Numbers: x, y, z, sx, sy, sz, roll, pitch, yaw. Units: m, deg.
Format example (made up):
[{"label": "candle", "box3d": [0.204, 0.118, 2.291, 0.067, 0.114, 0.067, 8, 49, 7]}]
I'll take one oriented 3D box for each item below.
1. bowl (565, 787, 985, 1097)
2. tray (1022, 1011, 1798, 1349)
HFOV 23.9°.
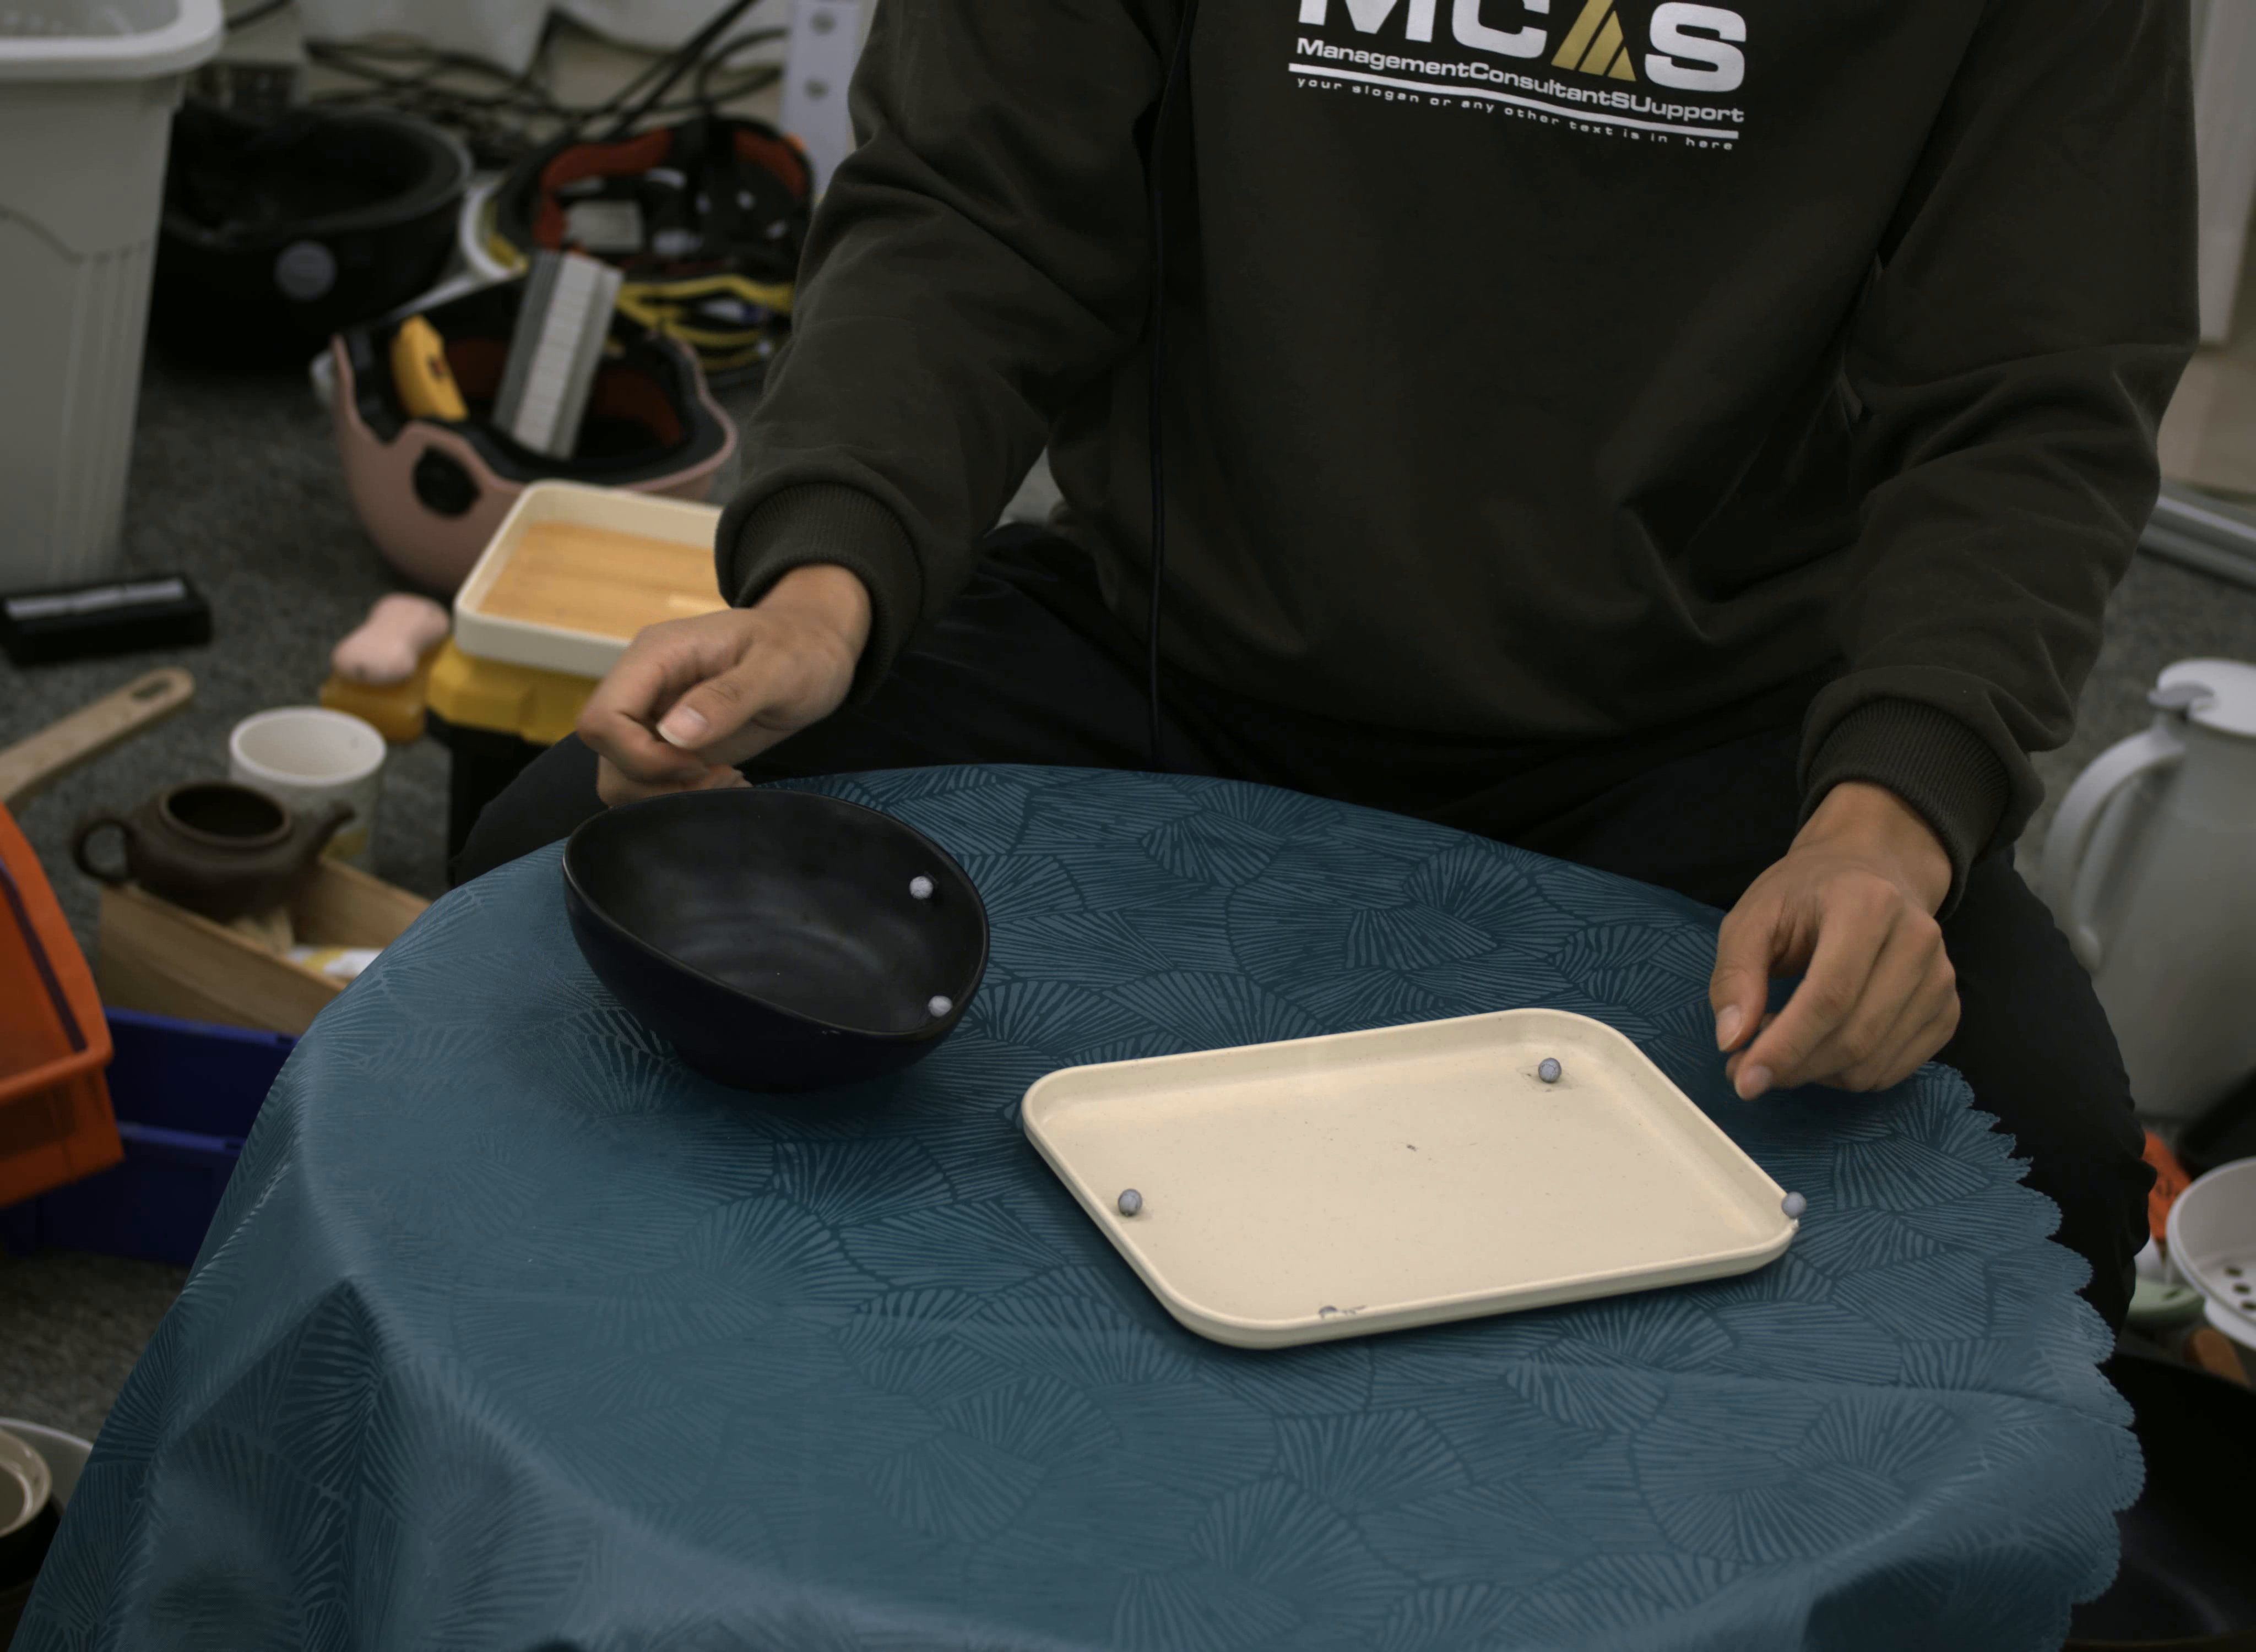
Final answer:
[{"label": "bowl", "box3d": [-0.124, 0.049, 1.856, 0.136, 0.066, 0.172, -17, 37, -38]}, {"label": "tray", "box3d": [0.095, 0.120, 1.817, 0.238, 0.017, 0.173, -6, 29, -25]}]
